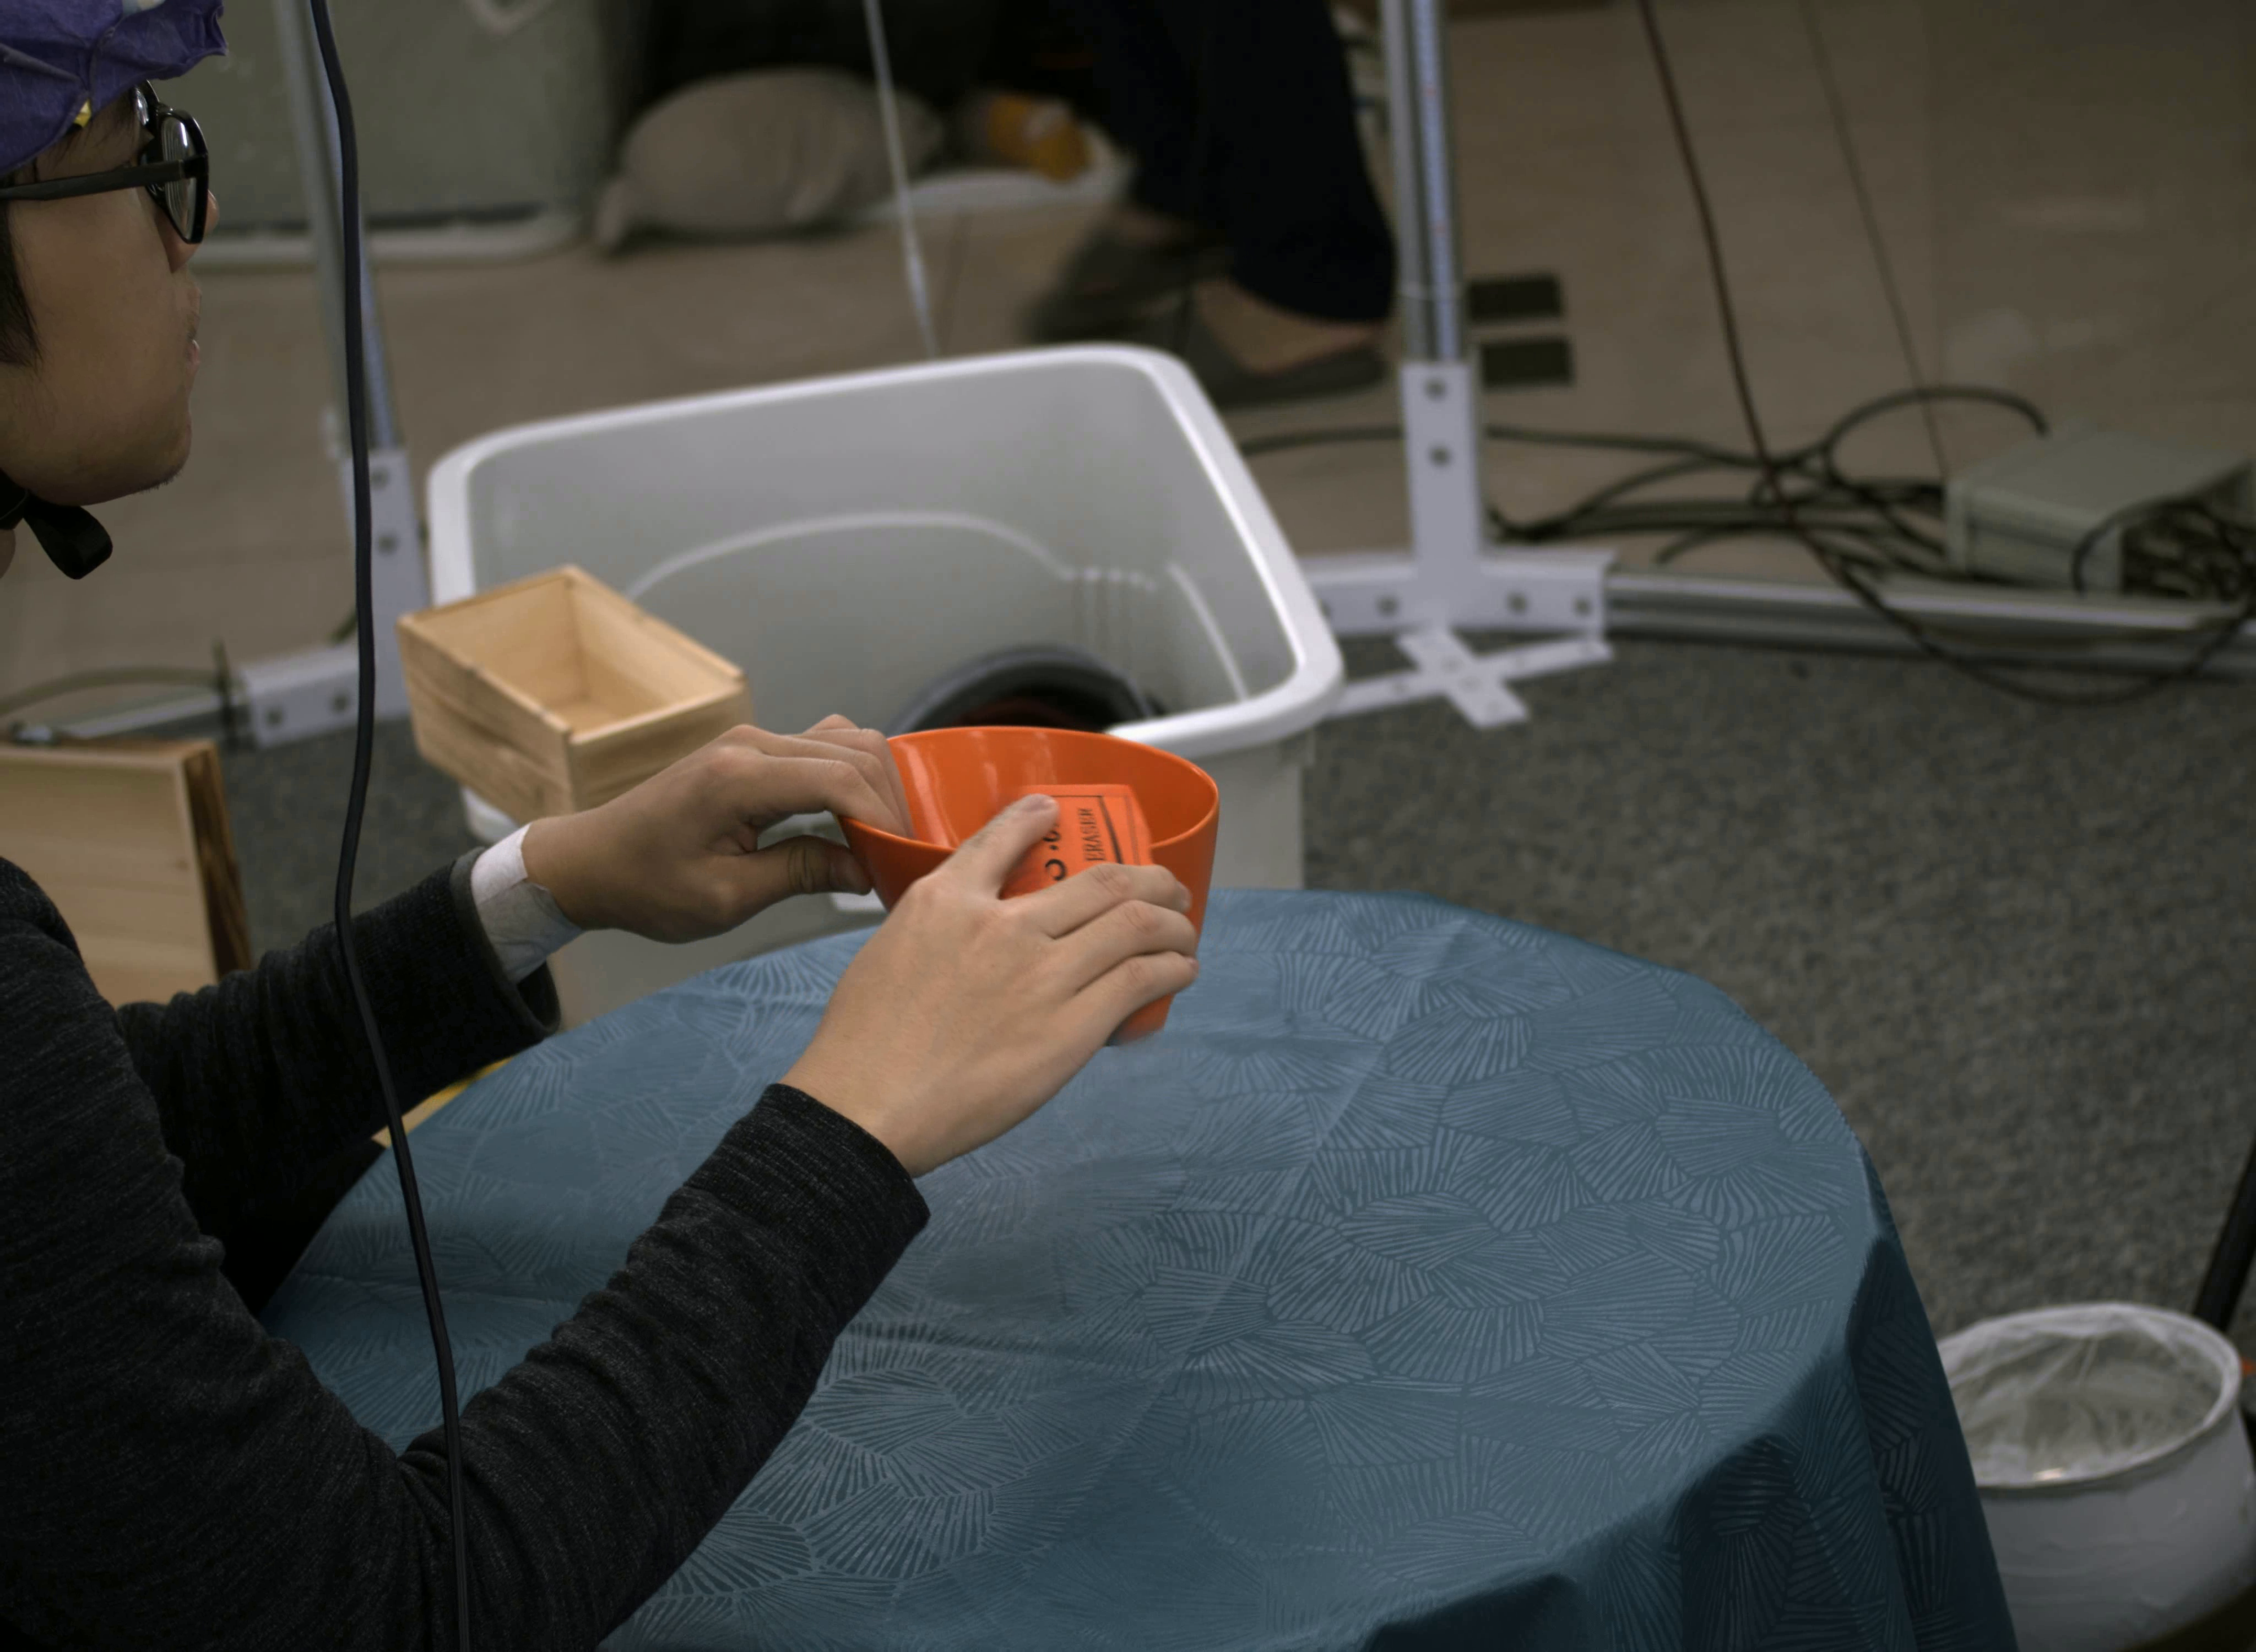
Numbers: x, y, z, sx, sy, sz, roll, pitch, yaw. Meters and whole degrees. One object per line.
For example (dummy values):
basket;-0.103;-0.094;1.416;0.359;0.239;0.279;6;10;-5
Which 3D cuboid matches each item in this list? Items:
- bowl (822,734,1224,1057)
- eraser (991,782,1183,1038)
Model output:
bowl;-0.033;0.027;2.100;0.148;0.106;0.146;-7;15;2
eraser;-0.015;0.029;1.984;0.059;0.023;0.106;1;45;-9
